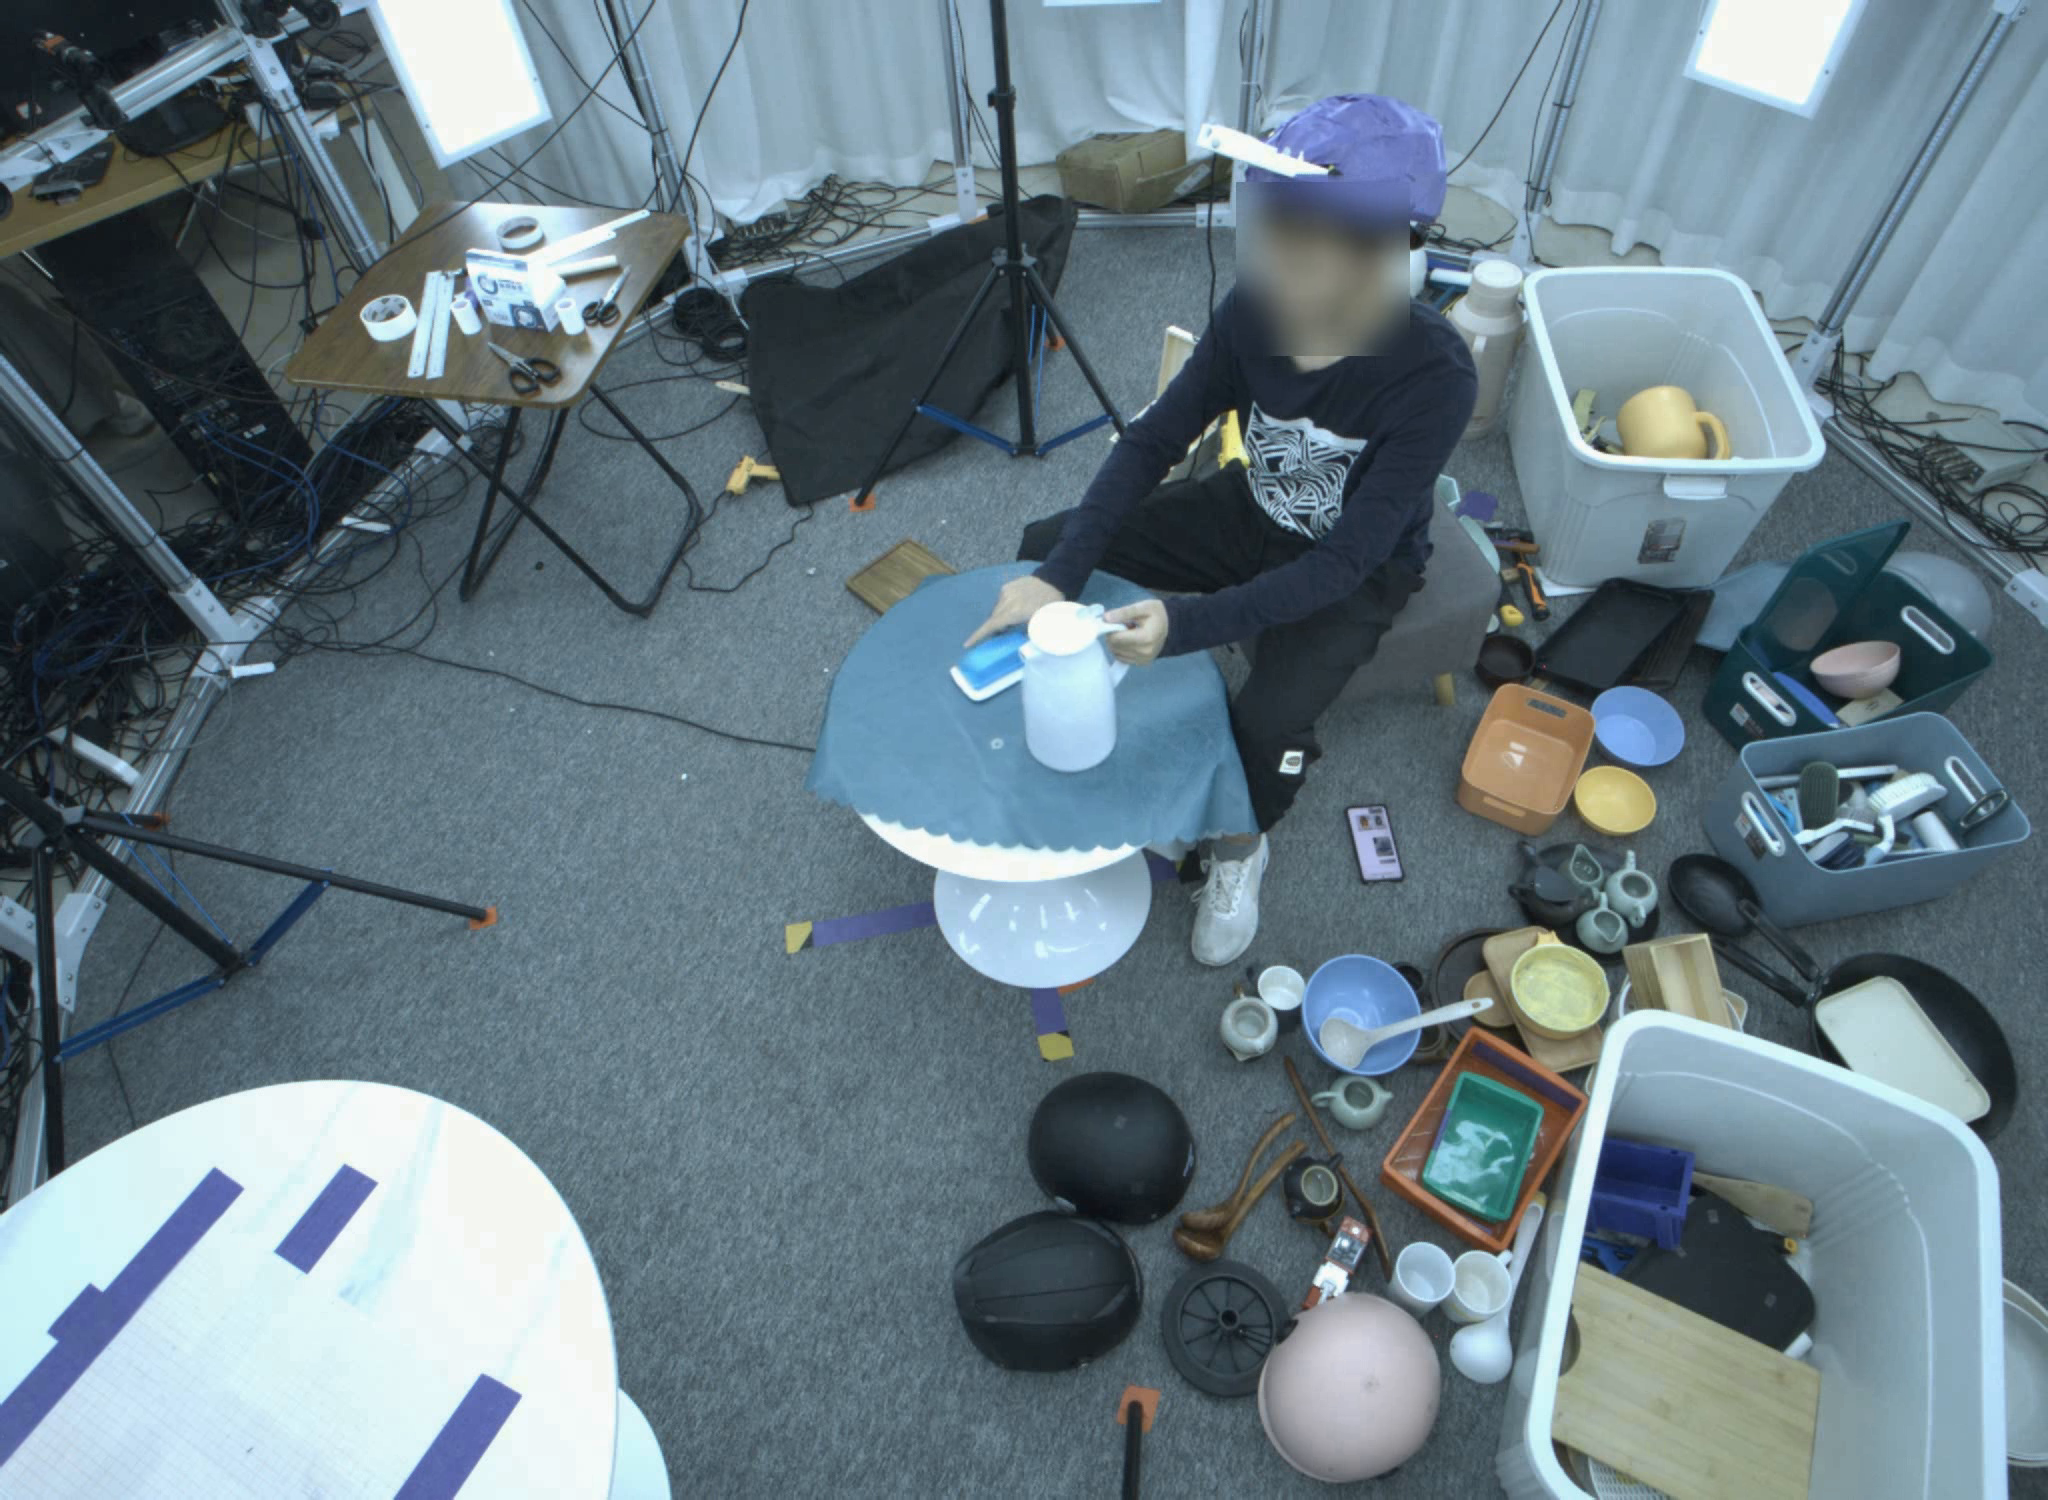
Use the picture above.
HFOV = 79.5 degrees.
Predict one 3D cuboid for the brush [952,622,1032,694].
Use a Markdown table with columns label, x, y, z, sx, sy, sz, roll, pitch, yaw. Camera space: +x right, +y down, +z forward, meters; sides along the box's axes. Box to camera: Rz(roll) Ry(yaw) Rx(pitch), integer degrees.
| label | x | y | z | sx | sy | sz | roll | pitch | yaw |
| --- | --- | --- | --- | --- | --- | --- | --- | --- | --- |
| brush | -0.034 | -0.146 | 1.848 | 0.145 | 0.056 | 0.082 | -29 | 61 | -15 |

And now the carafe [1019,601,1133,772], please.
| label | x | y | z | sx | sy | sz | roll | pitch | yaw |
| --- | --- | --- | --- | --- | --- | --- | --- | --- | --- |
| carafe | 0.074 | -0.101 | 1.694 | 0.169 | 0.251 | 0.130 | -28 | 57 | -15 |
